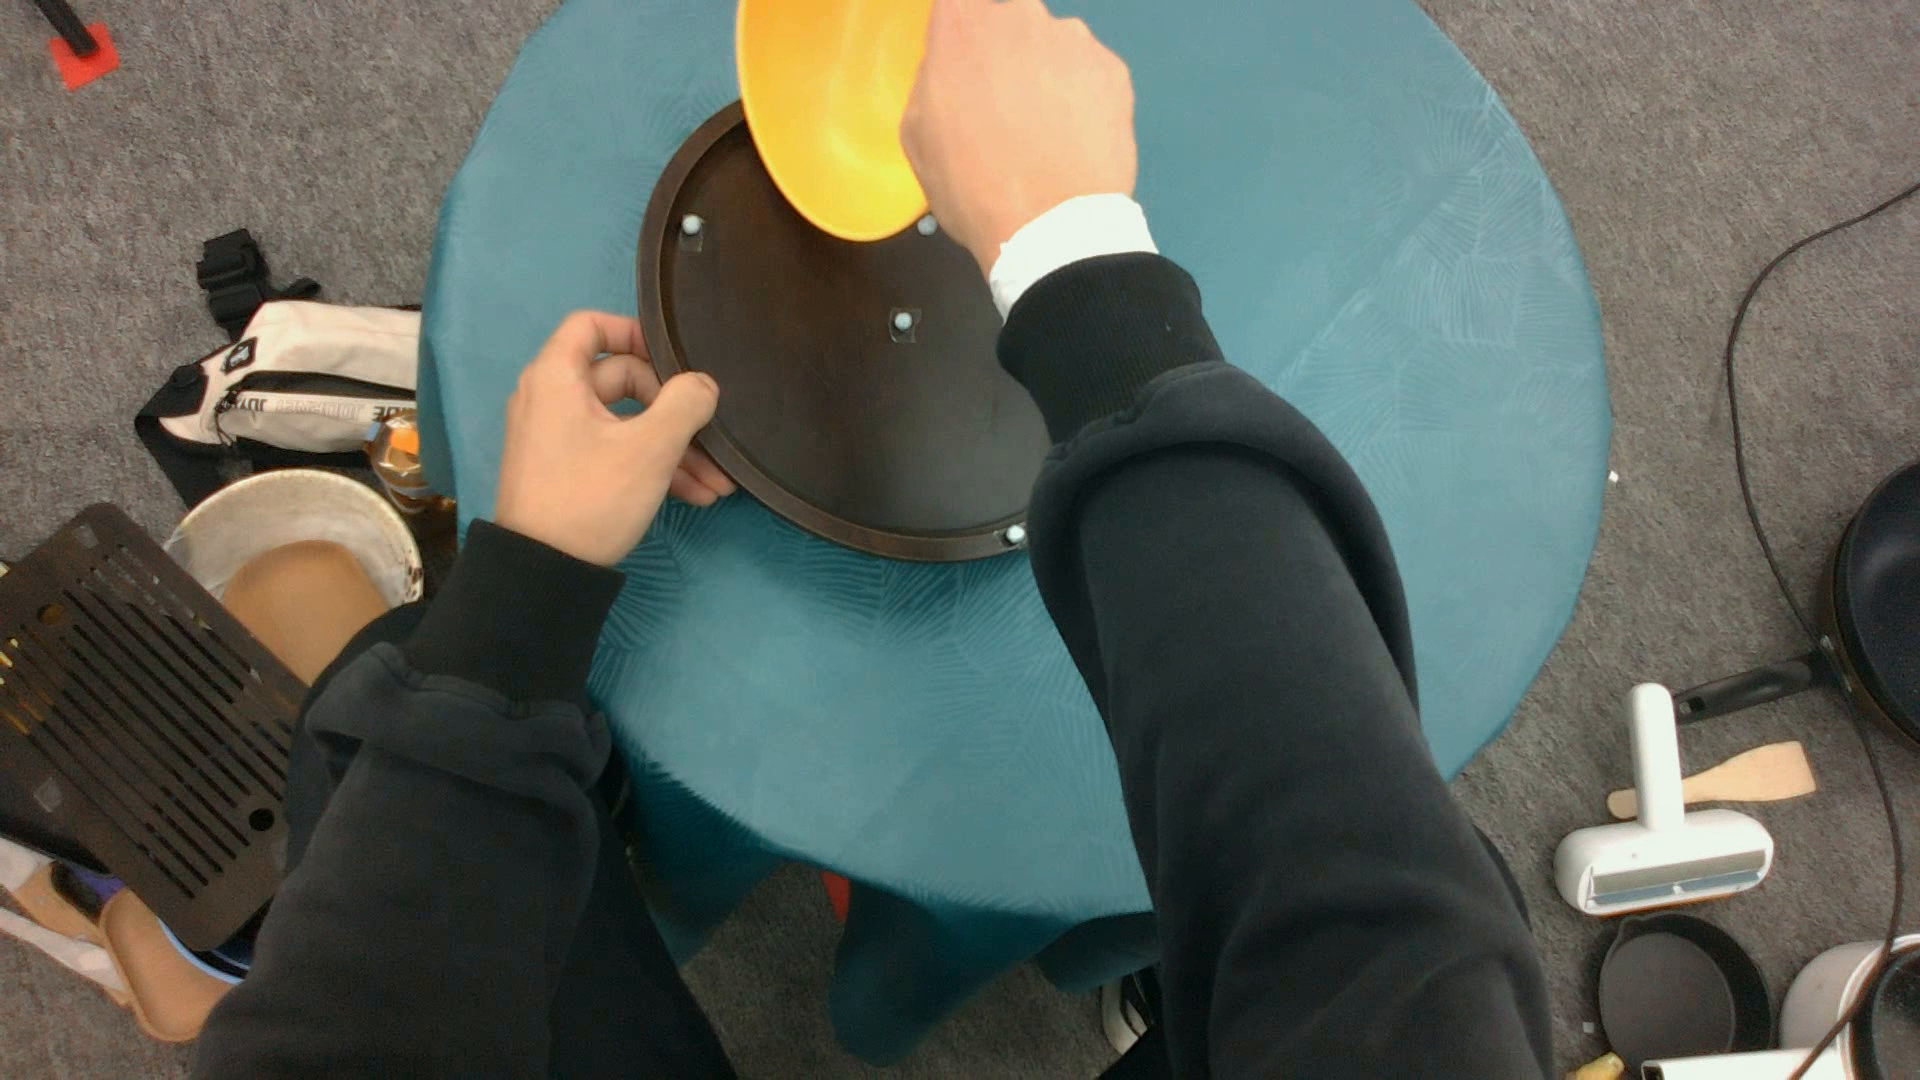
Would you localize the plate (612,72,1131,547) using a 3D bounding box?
[{"bbox_3d":[-0.036,-0.115,0.649,0.255,0.029,0.255,8,69,-21],"label":"plate"}]

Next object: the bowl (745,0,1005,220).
[{"bbox_3d":[-0.027,-0.218,0.607,0.060,0.144,0.145,-22,75,-42],"label":"bowl"}]
